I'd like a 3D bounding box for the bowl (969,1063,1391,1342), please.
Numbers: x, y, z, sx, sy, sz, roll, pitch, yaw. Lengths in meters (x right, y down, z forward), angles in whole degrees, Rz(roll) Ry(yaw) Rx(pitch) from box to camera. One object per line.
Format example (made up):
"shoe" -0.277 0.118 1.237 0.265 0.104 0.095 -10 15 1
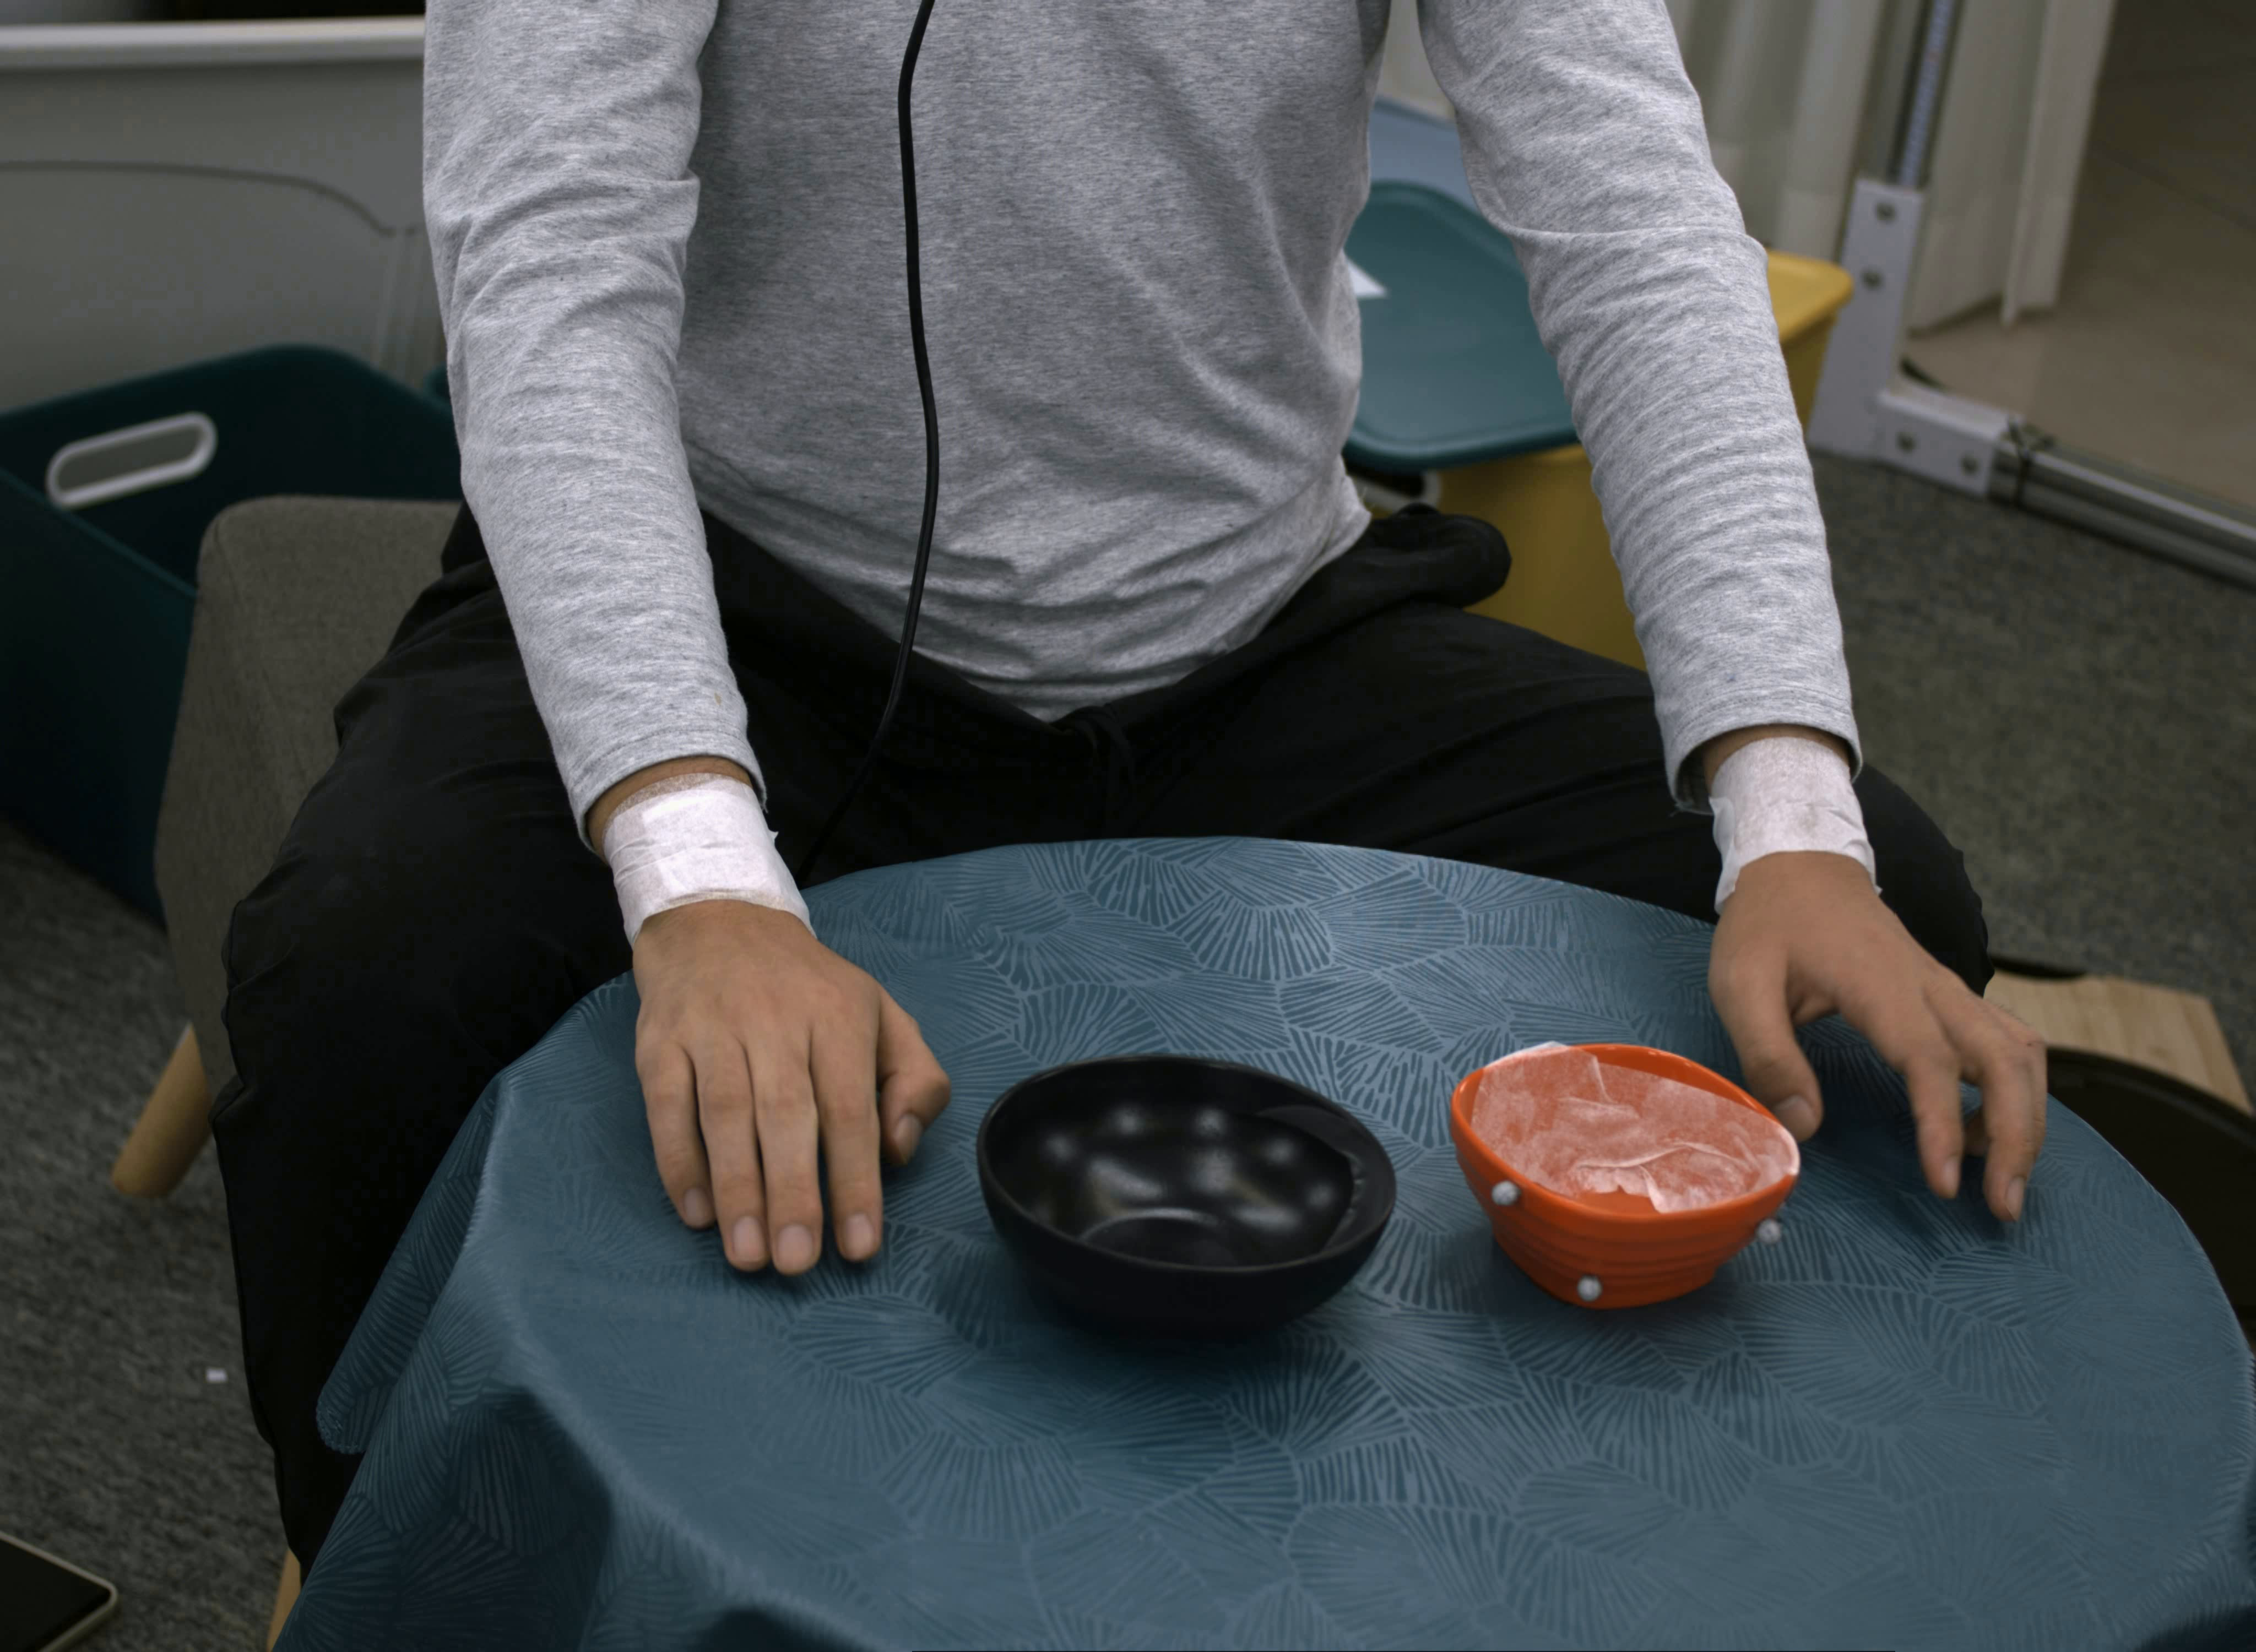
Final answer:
"bowl" 0.015 0.131 1.745 0.139 0.049 0.141 5 24 -3

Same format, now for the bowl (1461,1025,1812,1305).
"bowl" 0.167 0.119 1.789 0.118 0.051 0.120 6 31 -4
